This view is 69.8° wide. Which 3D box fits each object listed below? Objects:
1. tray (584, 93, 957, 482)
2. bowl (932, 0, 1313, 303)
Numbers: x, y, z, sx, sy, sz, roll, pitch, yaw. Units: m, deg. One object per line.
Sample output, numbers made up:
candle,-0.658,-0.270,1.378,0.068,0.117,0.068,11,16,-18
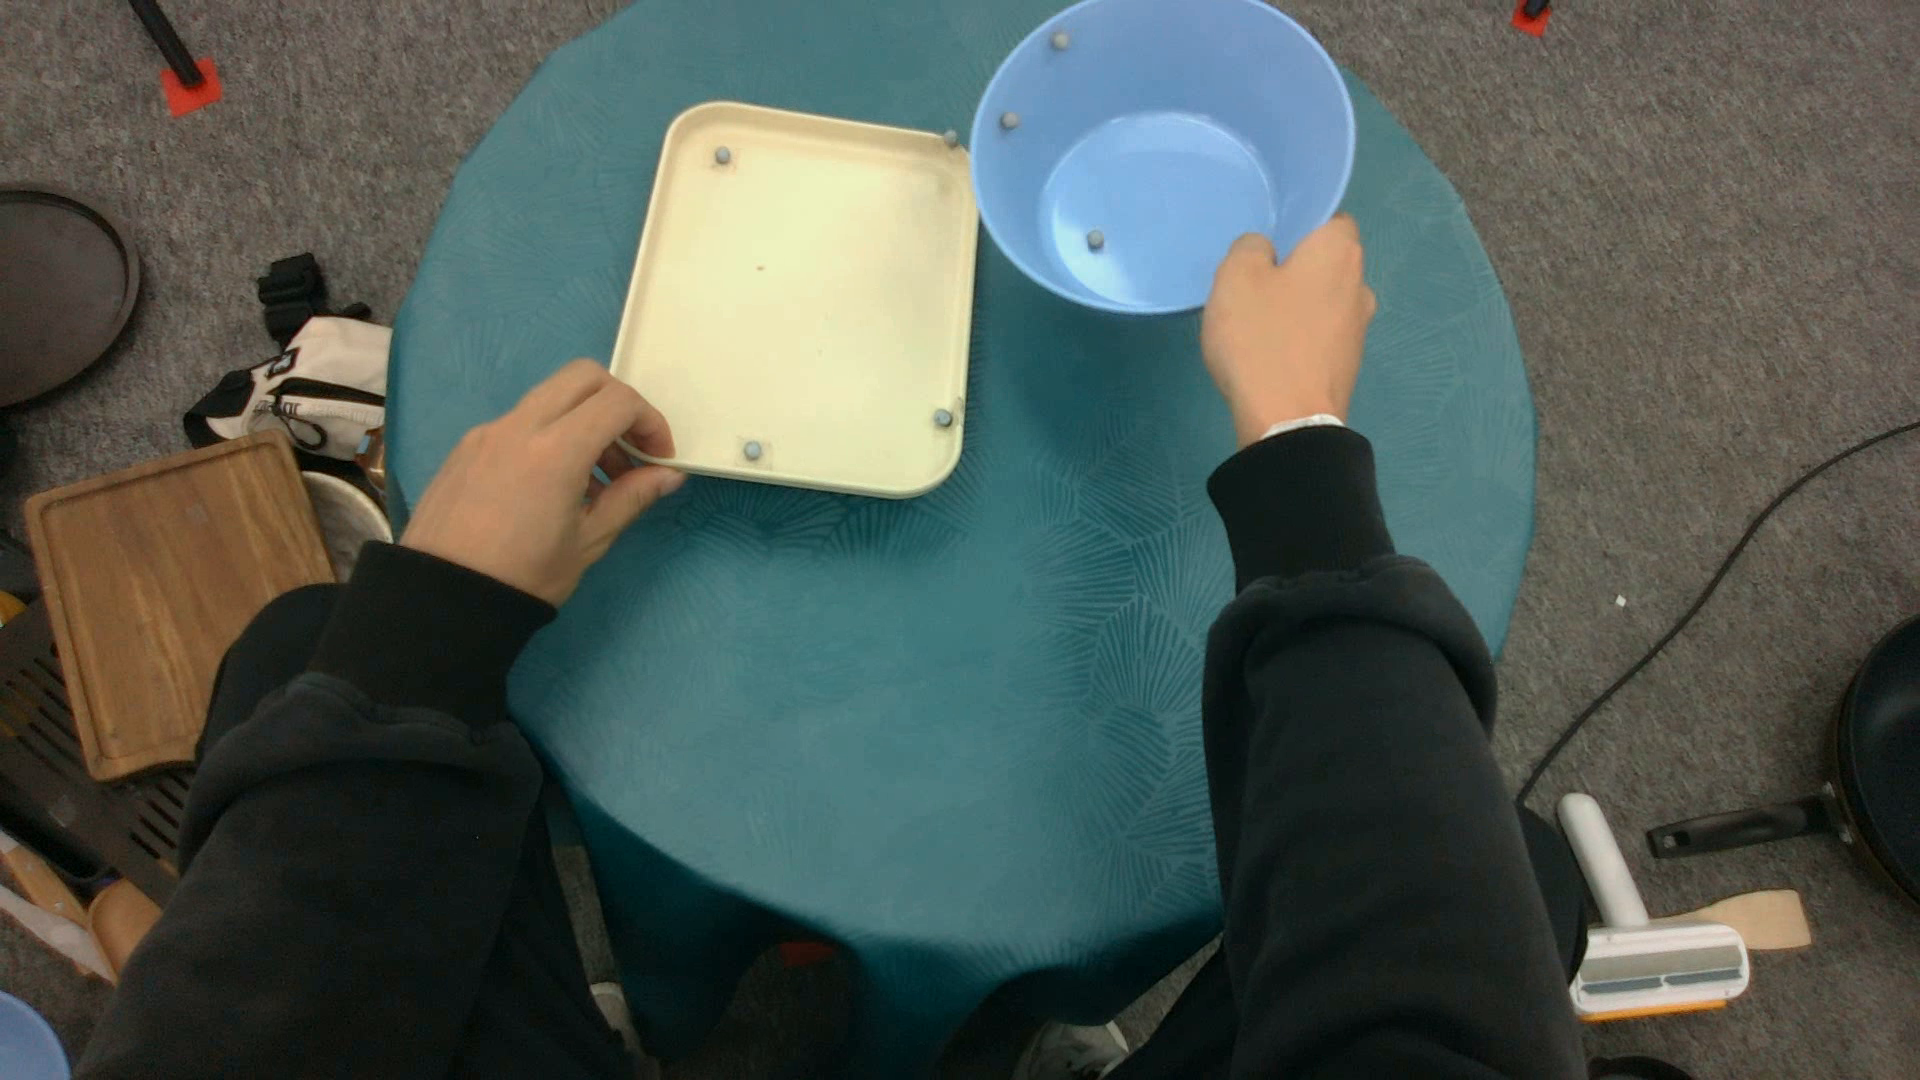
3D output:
tray,-0.088,-0.133,0.701,0.171,0.017,0.240,7,58,-6
bowl,0.078,-0.182,0.664,0.176,0.070,0.176,-3,71,9
